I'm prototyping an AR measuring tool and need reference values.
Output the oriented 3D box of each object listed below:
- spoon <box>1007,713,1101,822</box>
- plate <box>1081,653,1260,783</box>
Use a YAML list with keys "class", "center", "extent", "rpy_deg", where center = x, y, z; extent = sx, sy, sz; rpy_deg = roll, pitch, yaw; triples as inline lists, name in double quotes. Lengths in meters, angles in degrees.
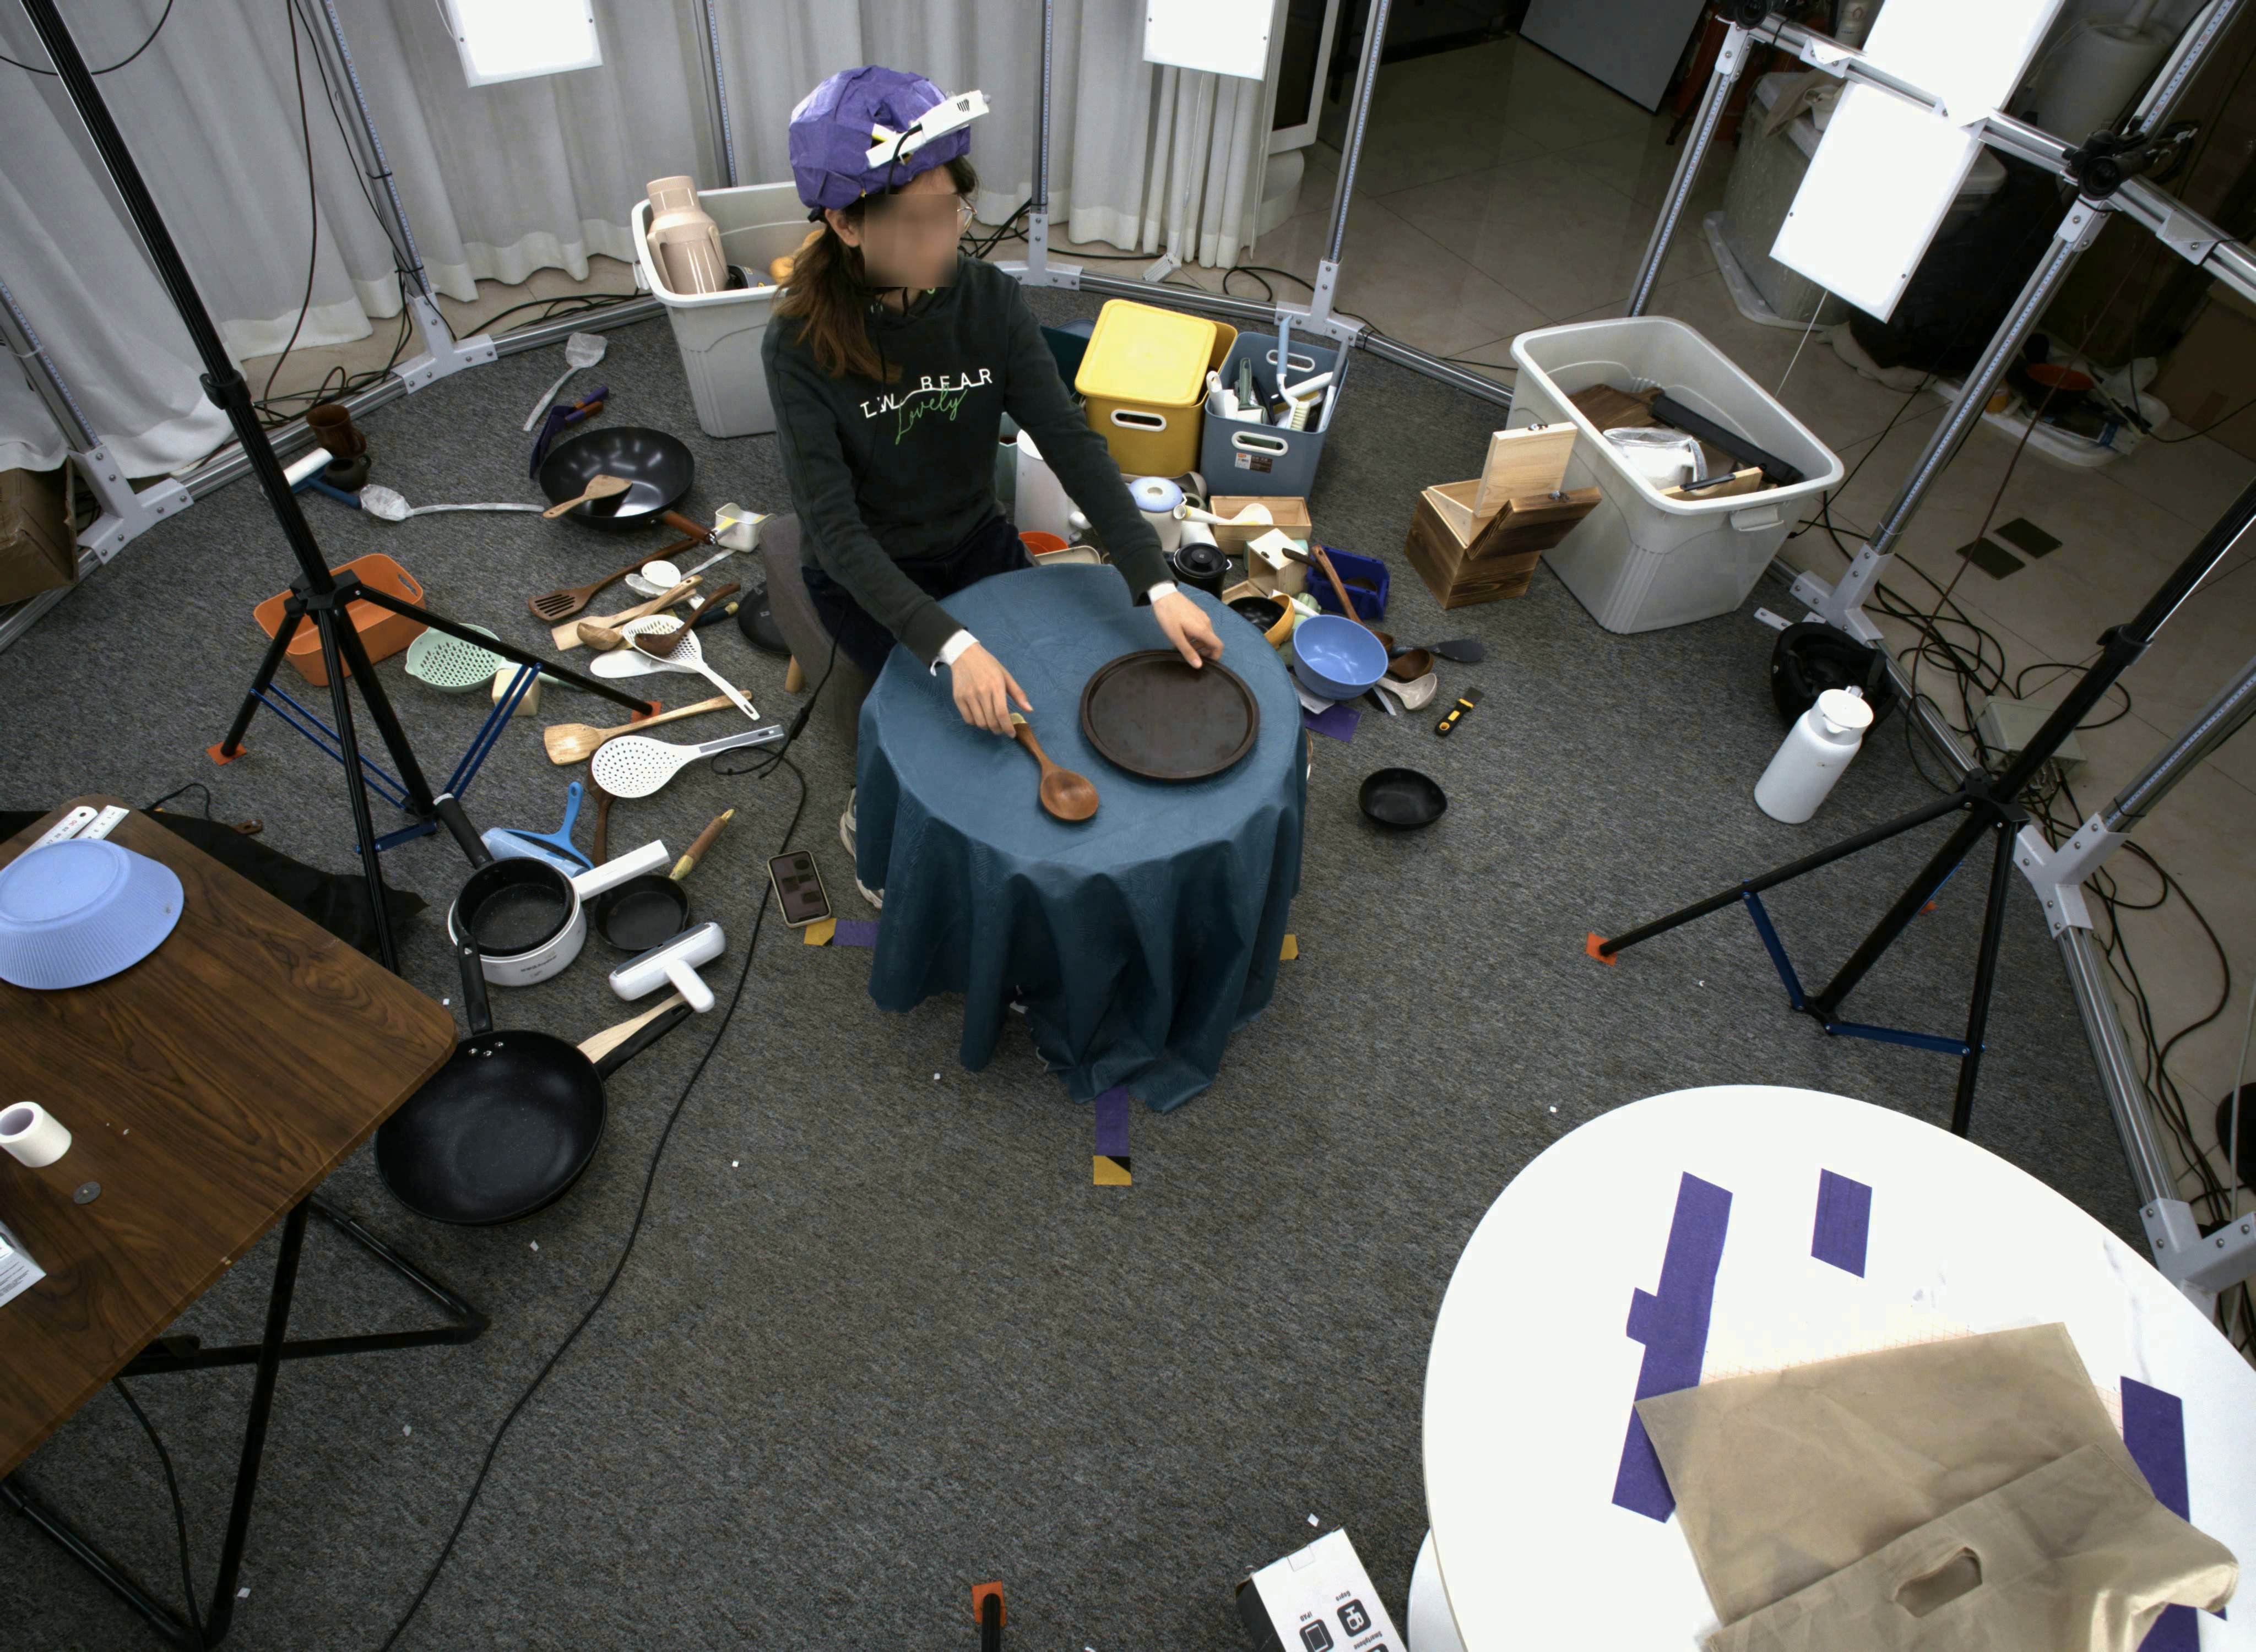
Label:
- class: "spoon"
  center: [-0.108, -0.081, 1.735]
  extent: [0.075, 0.017, 0.220]
  rpy_deg: [-21, 54, -21]
- class: "plate"
  center: [0.060, -0.154, 1.808]
  extent: [0.254, 0.028, 0.261]
  rpy_deg: [2, 49, -3]
